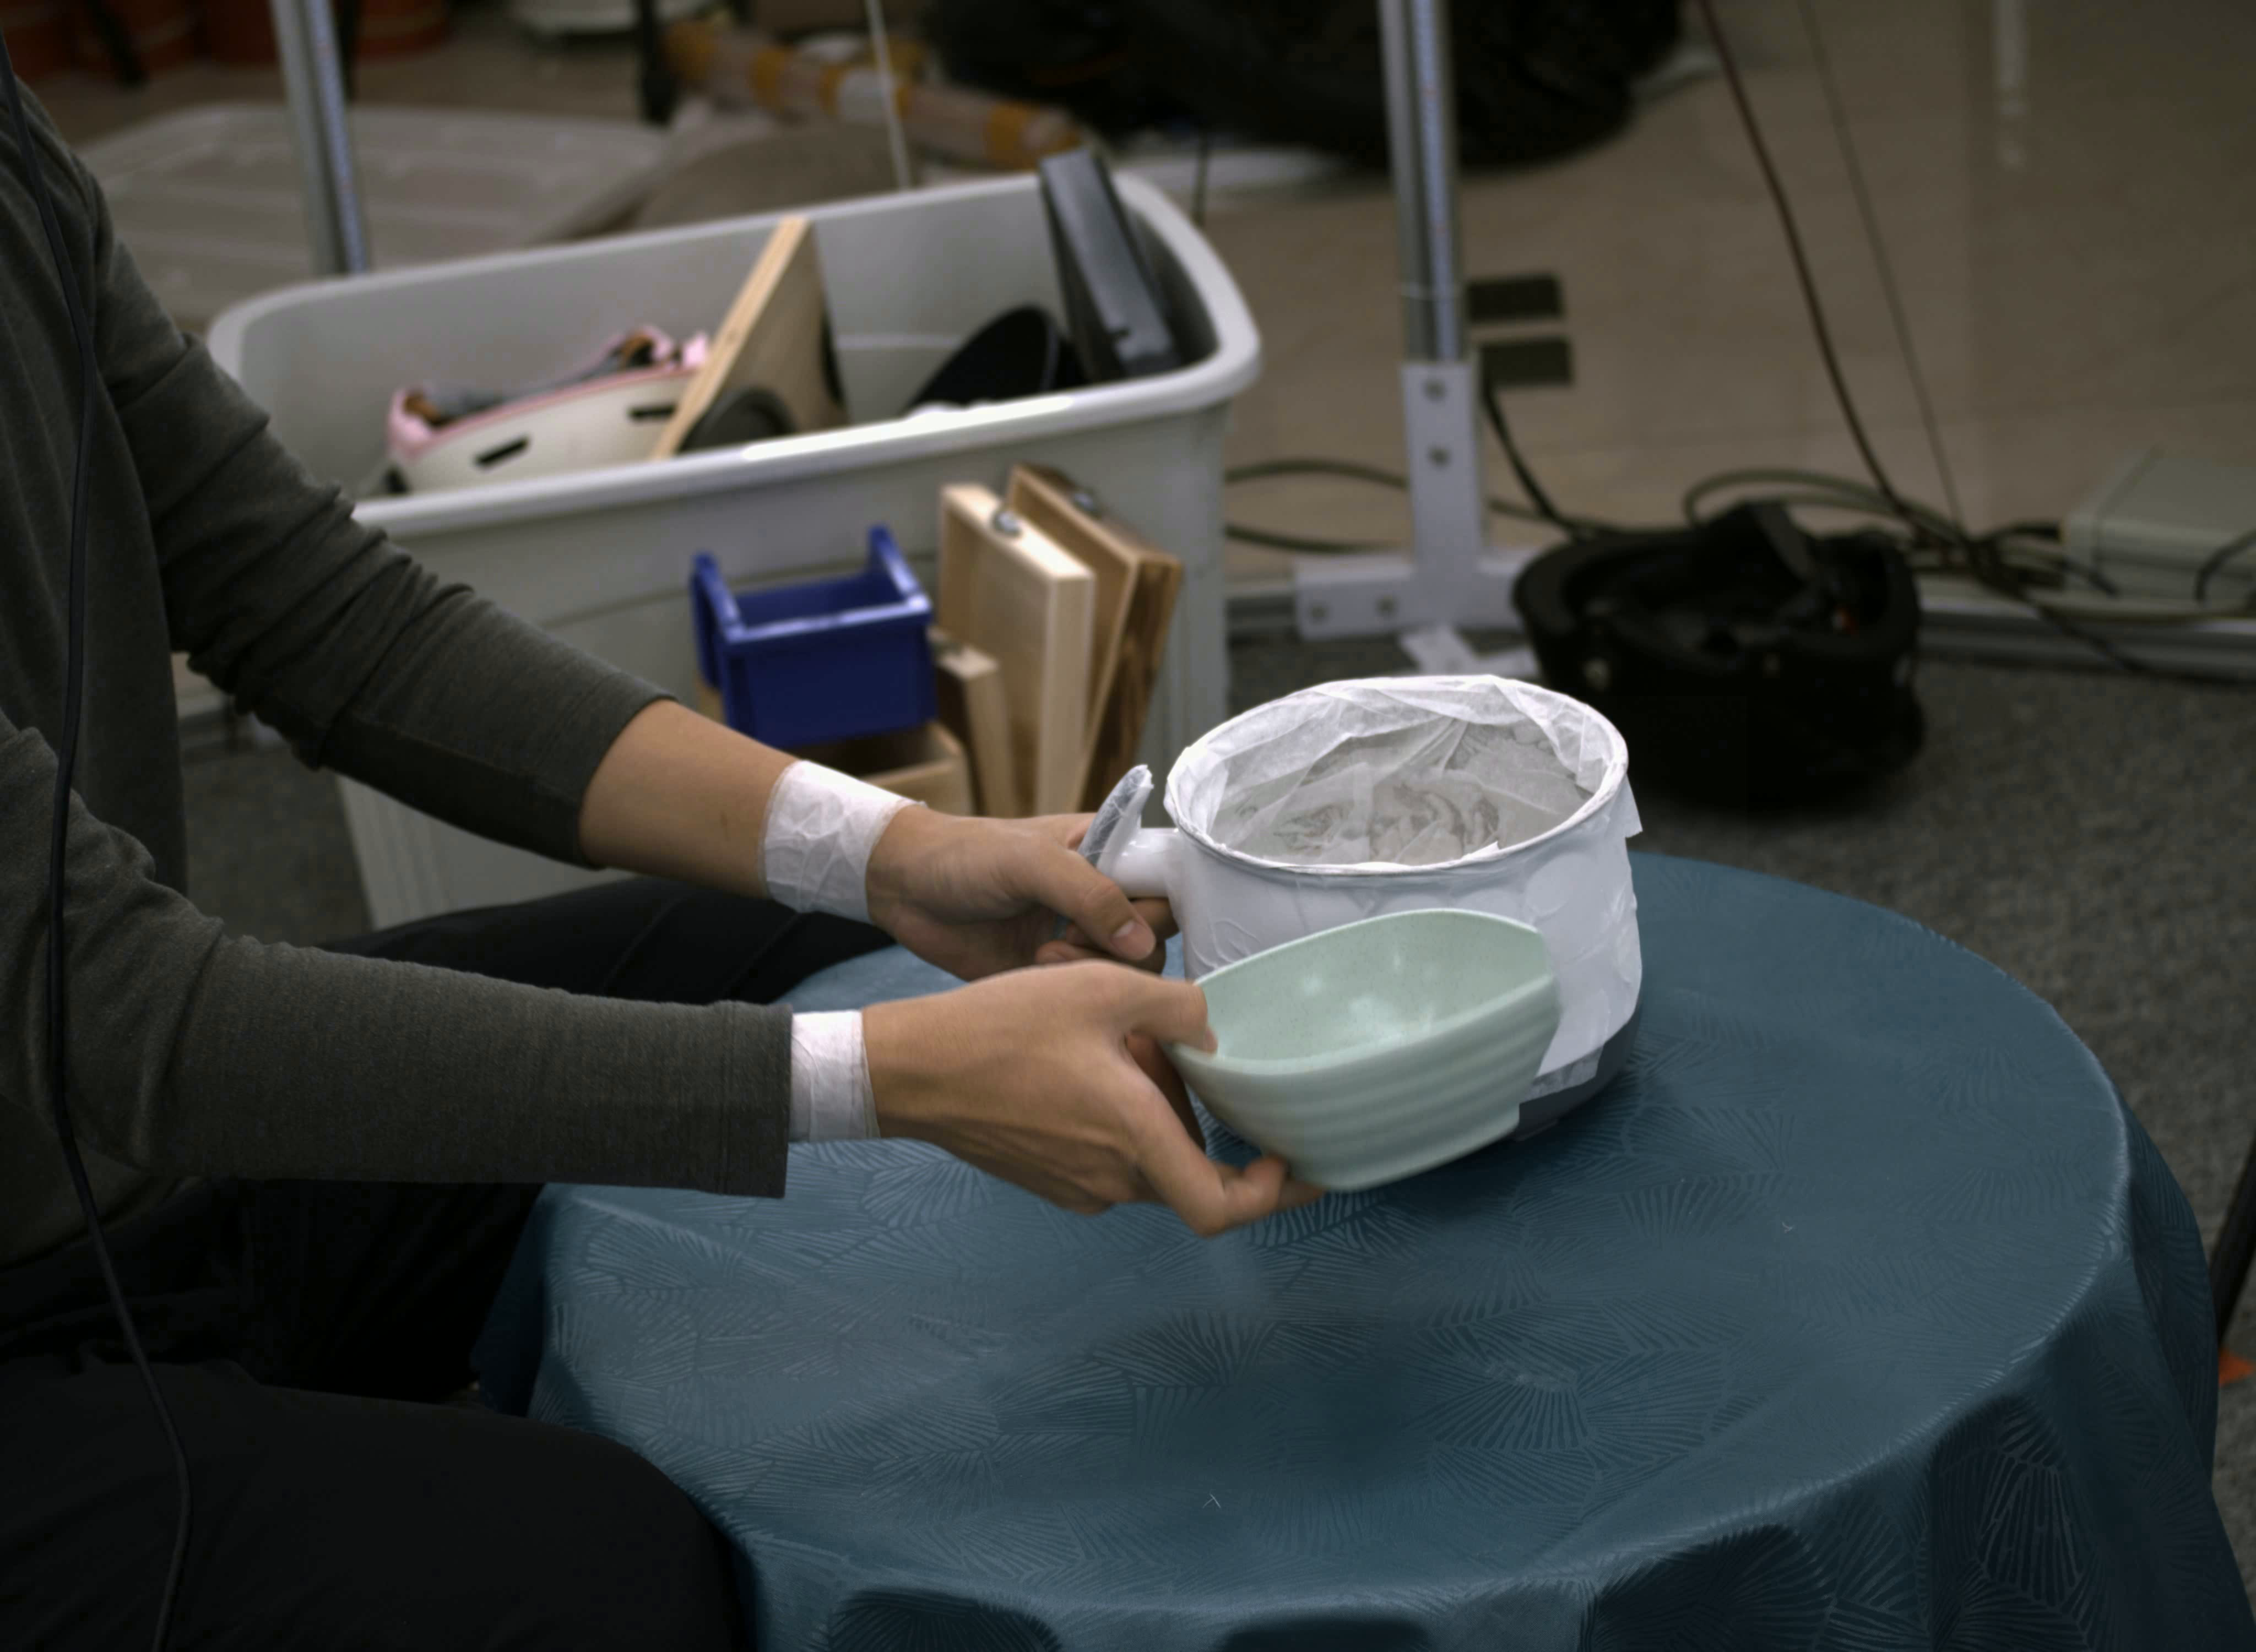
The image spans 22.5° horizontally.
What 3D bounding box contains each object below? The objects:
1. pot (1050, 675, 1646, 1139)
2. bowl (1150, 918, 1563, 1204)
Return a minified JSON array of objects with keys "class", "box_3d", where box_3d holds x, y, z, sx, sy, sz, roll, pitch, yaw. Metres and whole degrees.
[{"class":"pot","box_3d":[0.082,0.037,2.184,0.233,0.139,0.176,-2,25,9]},{"class":"bowl","box_3d":[0.085,0.087,2.001,0.151,0.059,0.149,-11,18,4]}]
